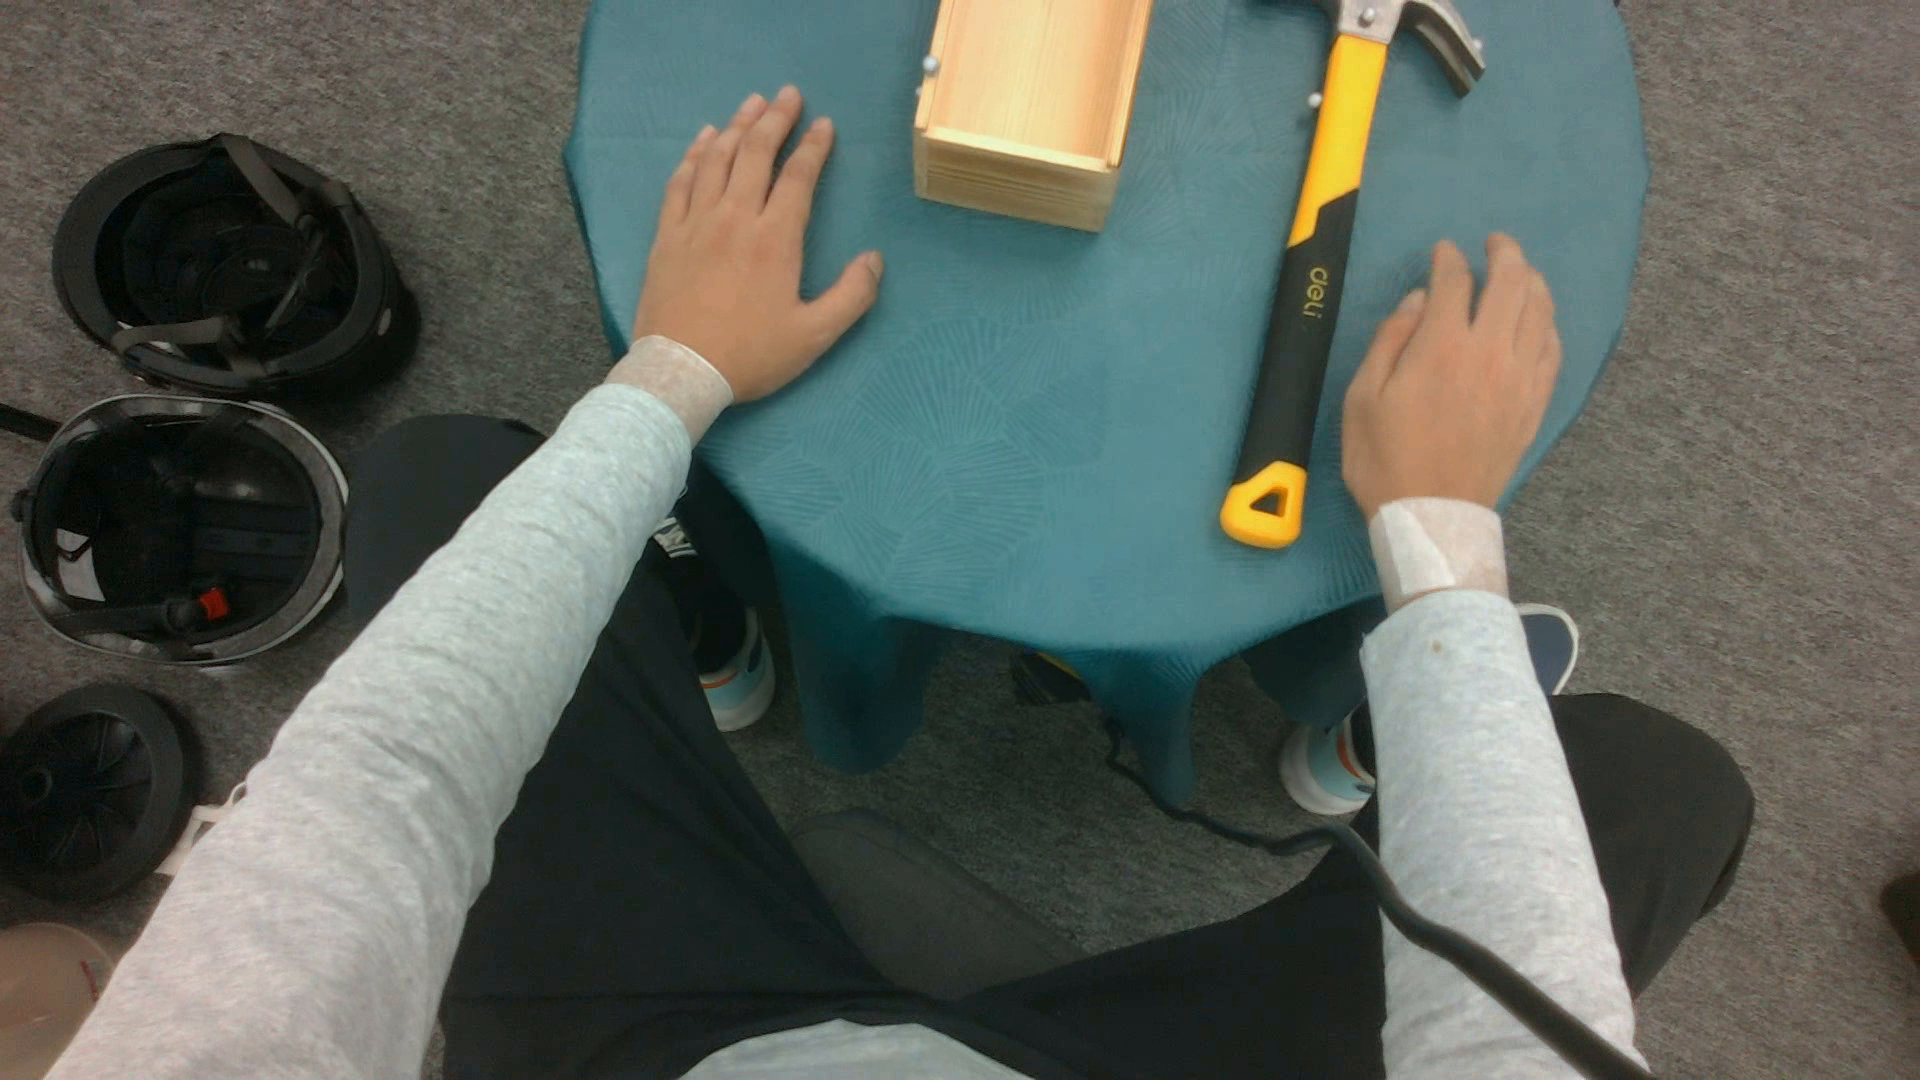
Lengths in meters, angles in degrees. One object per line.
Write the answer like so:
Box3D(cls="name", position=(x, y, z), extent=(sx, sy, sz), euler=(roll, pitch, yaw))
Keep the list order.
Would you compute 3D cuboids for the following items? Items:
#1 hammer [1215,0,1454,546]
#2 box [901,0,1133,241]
Box3D(cls="hammer", position=(0.189, -0.161, 0.762), extent=(0.131, 0.032, 0.339), euler=(12, 79, 0))
Box3D(cls="box", position=(0.038, -0.285, 0.758), extent=(0.107, 0.080, 0.212), euler=(9, 79, 0))
